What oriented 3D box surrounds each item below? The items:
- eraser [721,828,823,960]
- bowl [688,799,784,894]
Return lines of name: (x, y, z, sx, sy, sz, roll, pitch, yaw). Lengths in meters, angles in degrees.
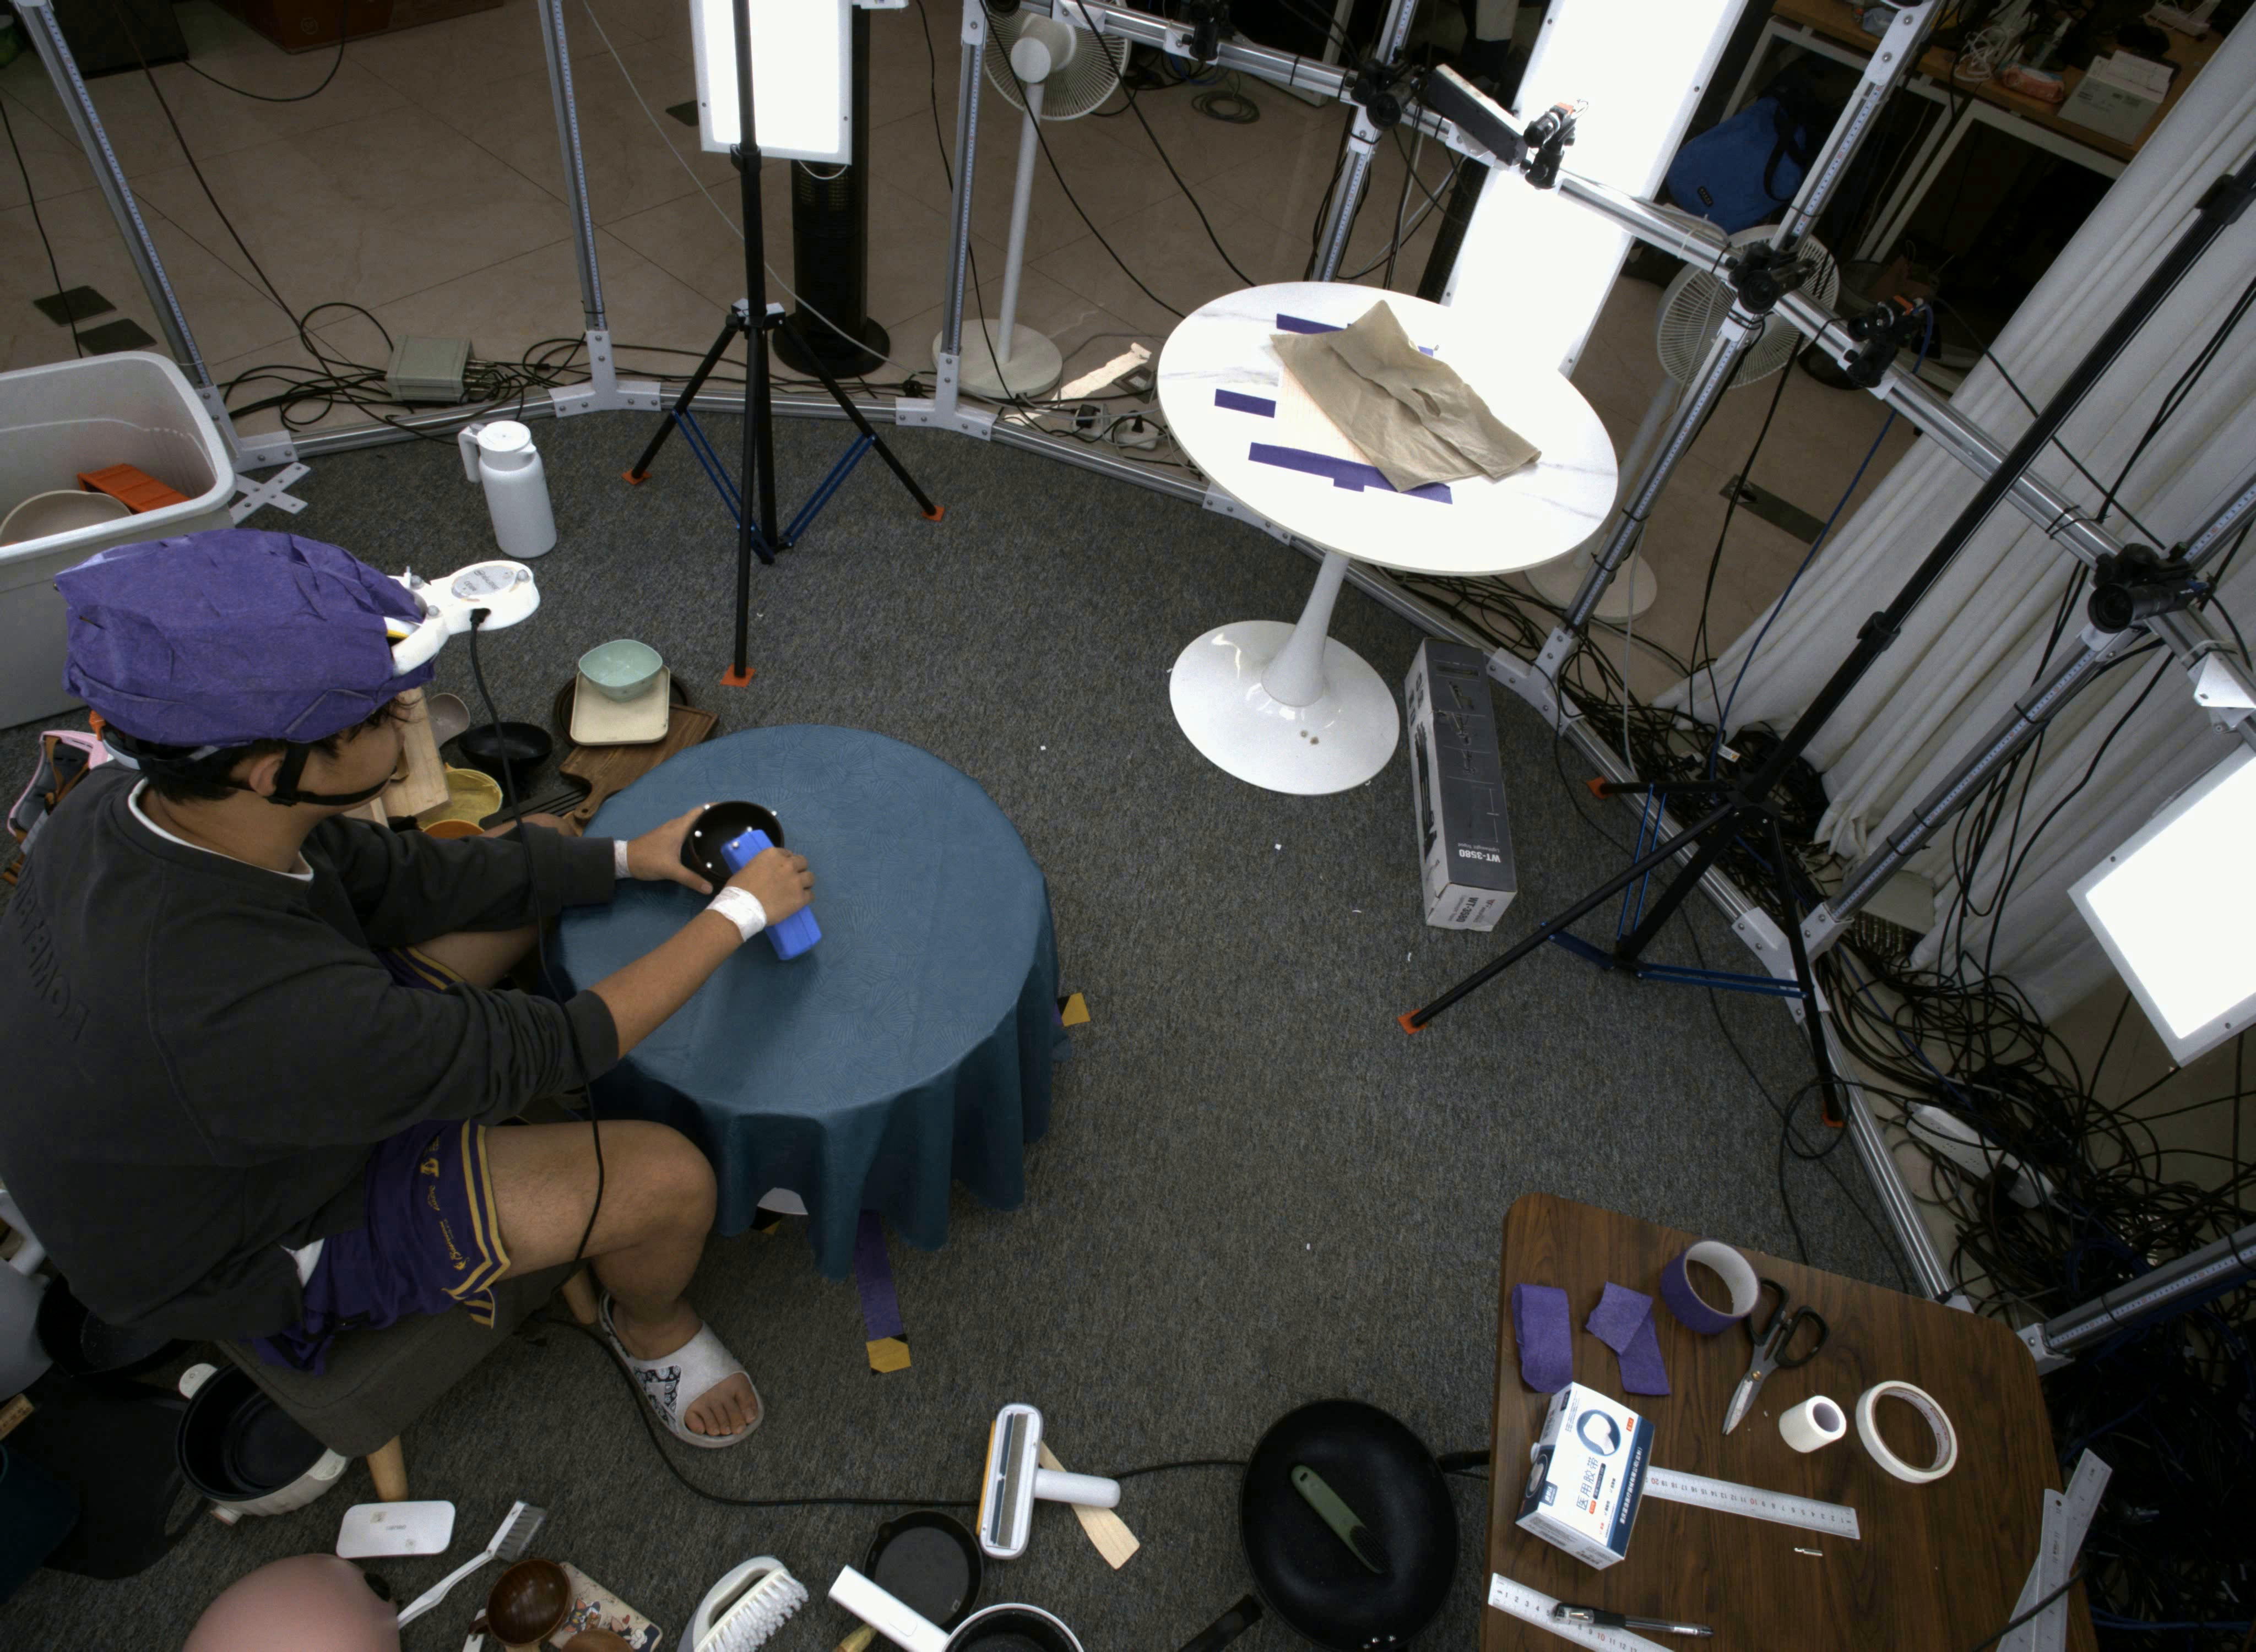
eraser: (-0.432, 0.079, 1.578, 0.054, 0.047, 0.164, -33, 95, -39)
bowl: (-0.496, 0.031, 1.635, 0.118, 0.070, 0.116, 10, 59, -15)
